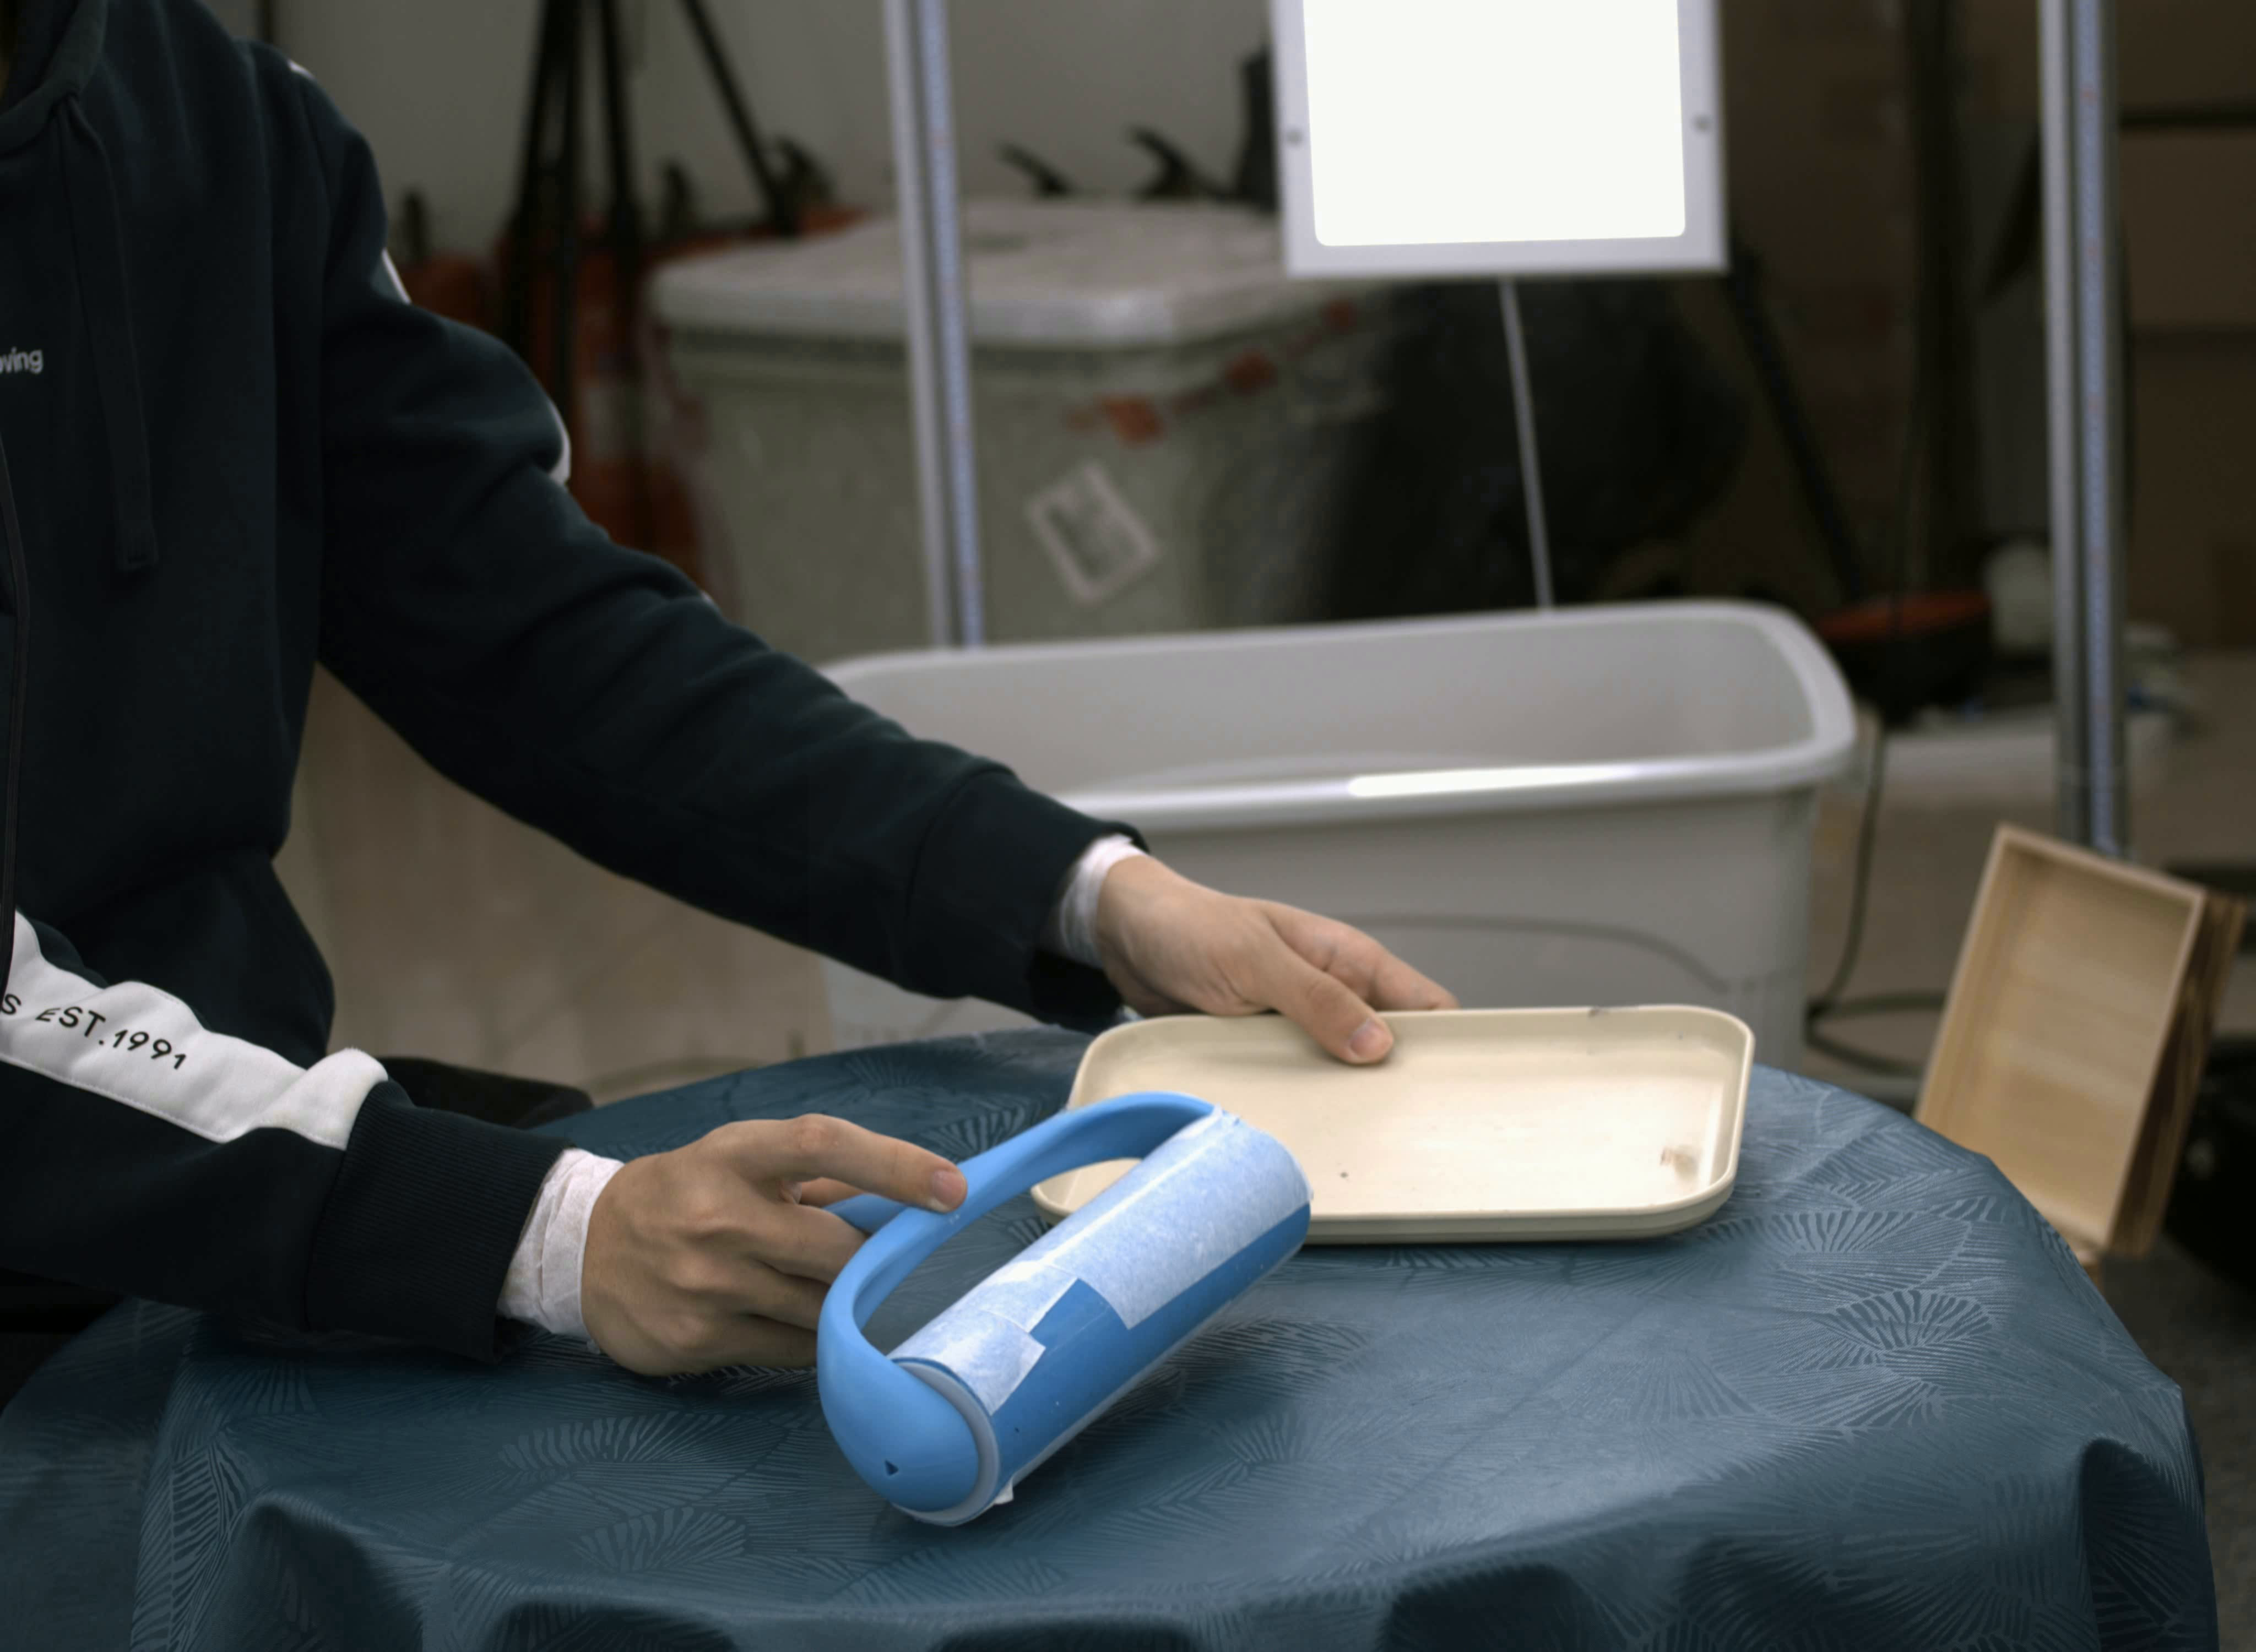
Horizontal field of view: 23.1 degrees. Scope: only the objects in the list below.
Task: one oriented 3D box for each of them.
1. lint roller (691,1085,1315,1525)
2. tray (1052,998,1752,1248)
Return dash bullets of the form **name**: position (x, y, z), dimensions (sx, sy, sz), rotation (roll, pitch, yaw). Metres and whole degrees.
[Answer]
- **lint roller**: position (-0.062, 0.142, 1.698), dimensions (0.183, 0.068, 0.224), rotation (3, 23, 29)
- **tray**: position (0.093, 0.103, 1.882), dimensions (0.241, 0.017, 0.169), rotation (-2, 22, 12)
